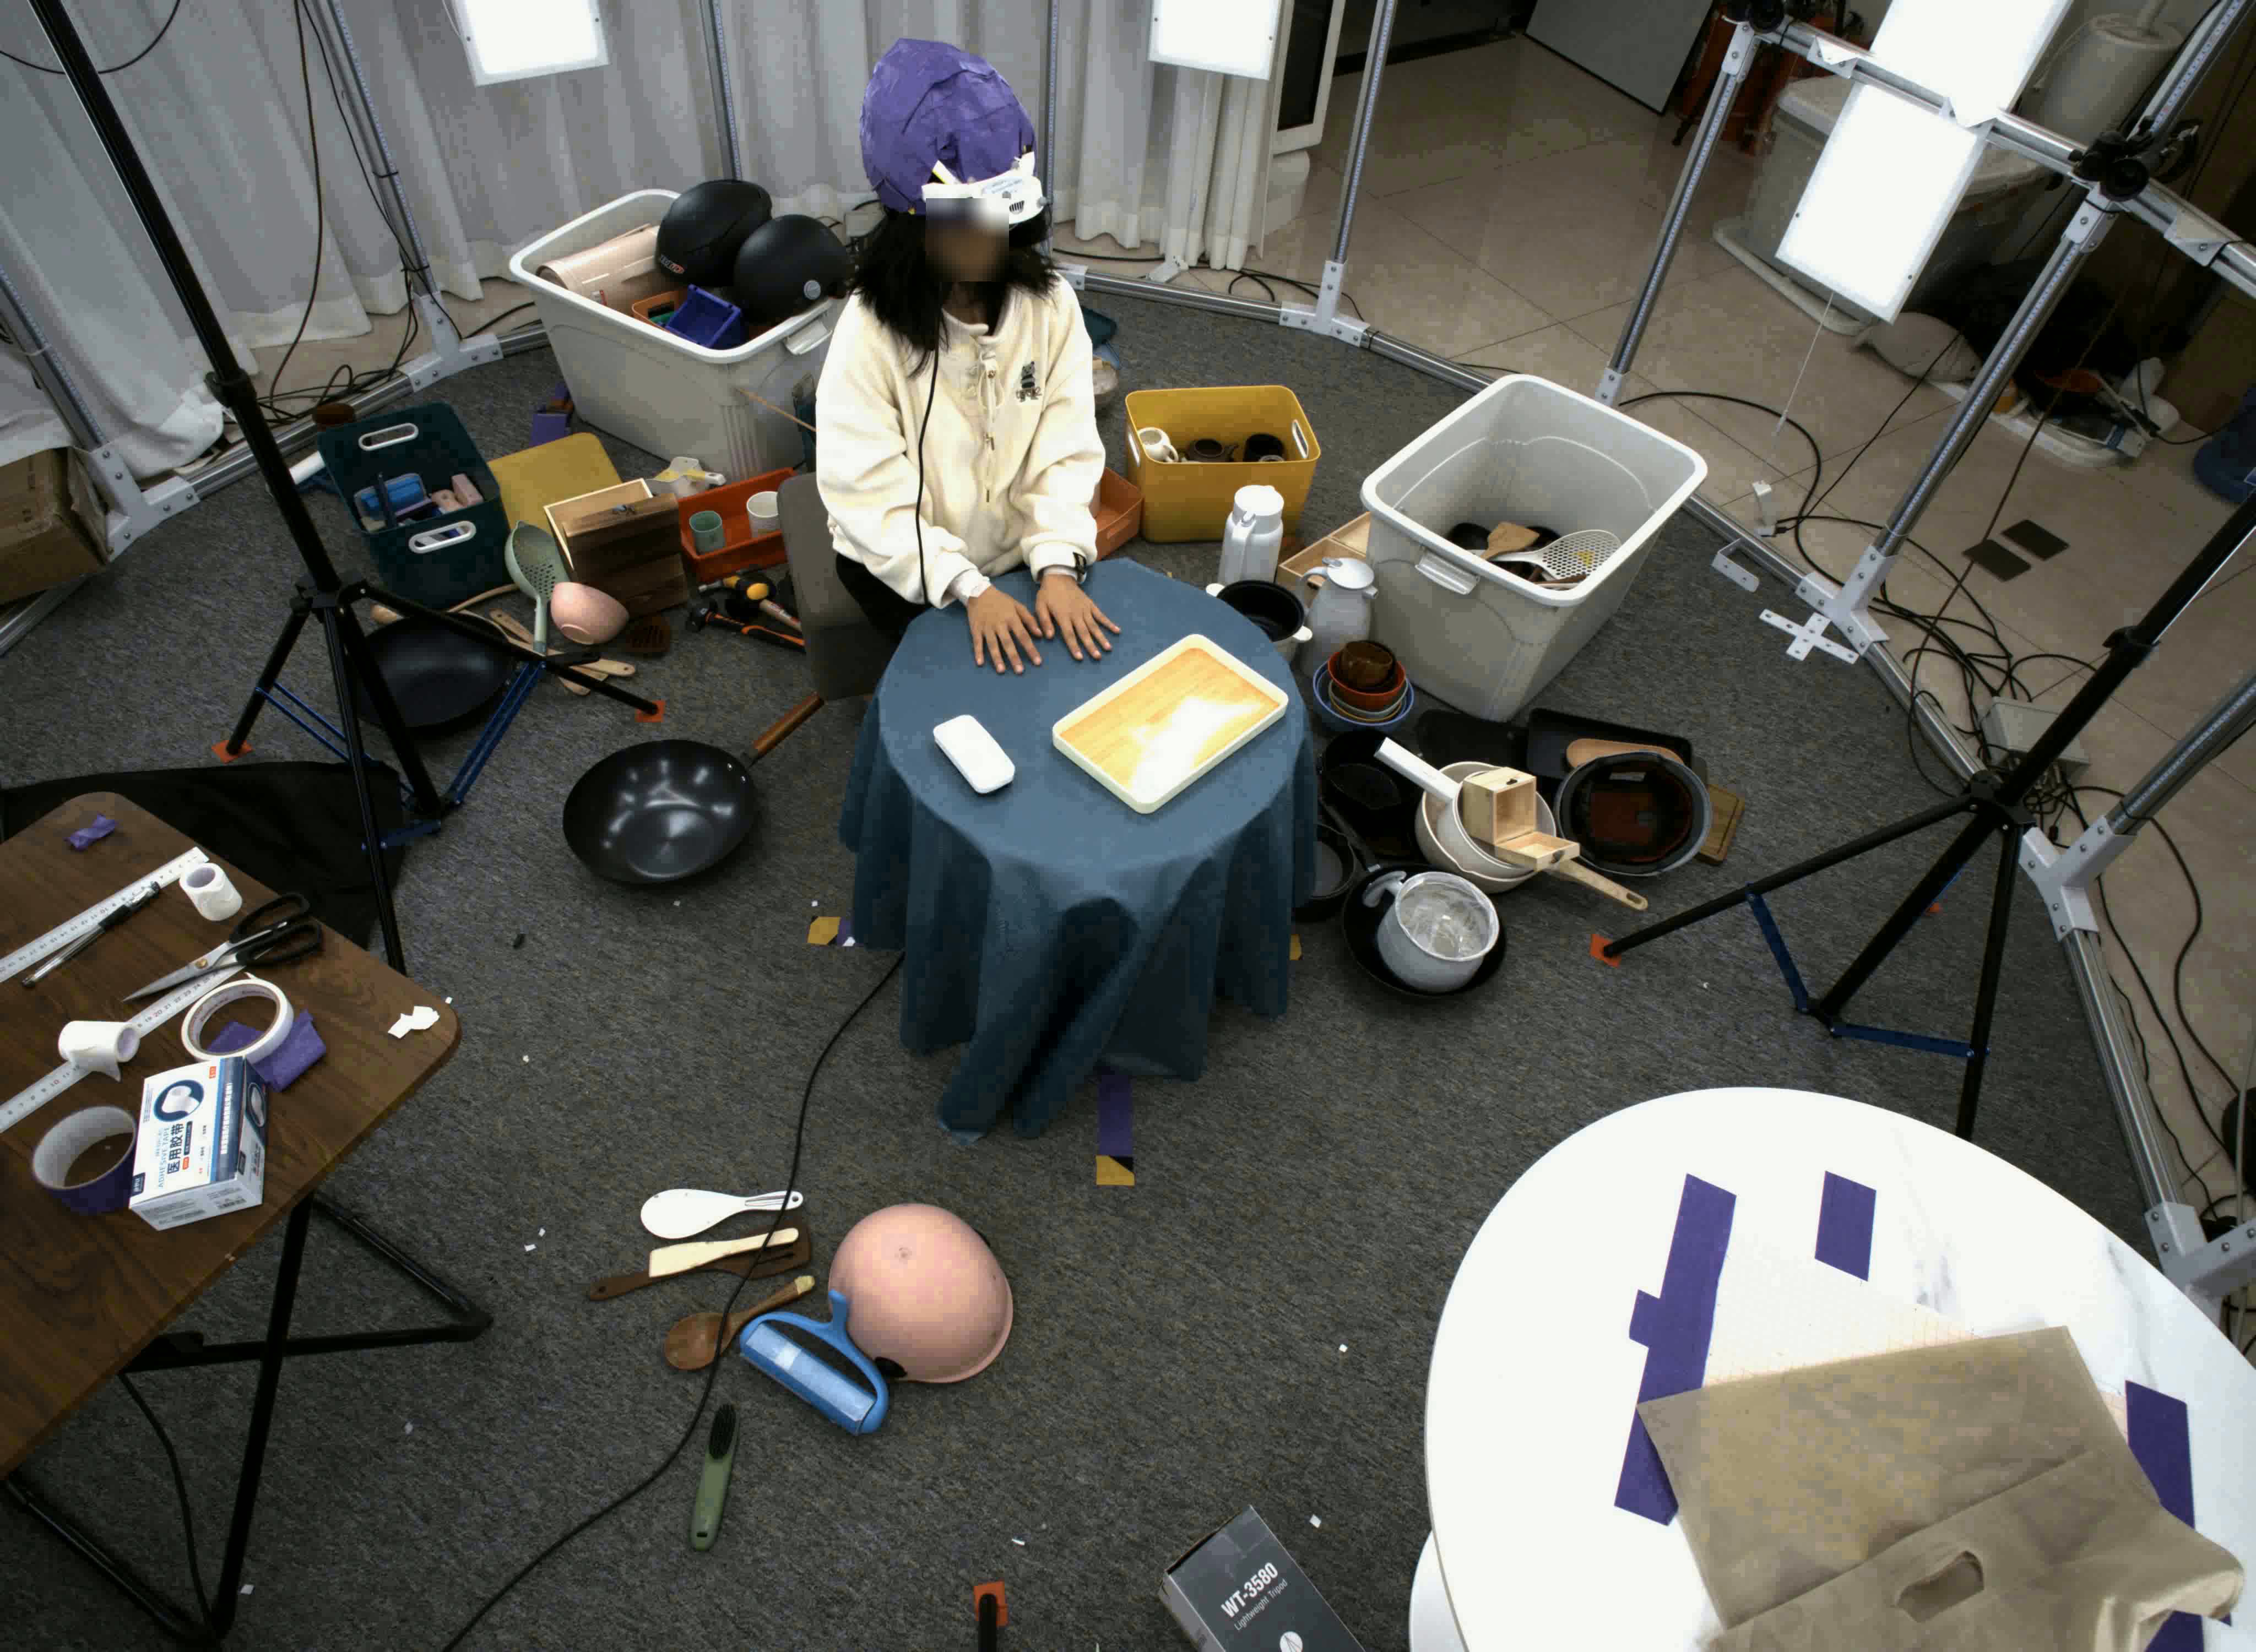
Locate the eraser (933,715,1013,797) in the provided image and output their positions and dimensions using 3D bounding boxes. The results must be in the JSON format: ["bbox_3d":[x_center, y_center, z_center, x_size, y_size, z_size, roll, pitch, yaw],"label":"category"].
[{"bbox_3d":[-0.207,-0.097,1.721,0.063,0.034,0.134,-25,56,-23],"label":"eraser"}]

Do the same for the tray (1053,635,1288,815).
[{"bbox_3d":[0.061,-0.147,1.784,0.303,0.027,0.194,-36,60,-29],"label":"tray"}]
